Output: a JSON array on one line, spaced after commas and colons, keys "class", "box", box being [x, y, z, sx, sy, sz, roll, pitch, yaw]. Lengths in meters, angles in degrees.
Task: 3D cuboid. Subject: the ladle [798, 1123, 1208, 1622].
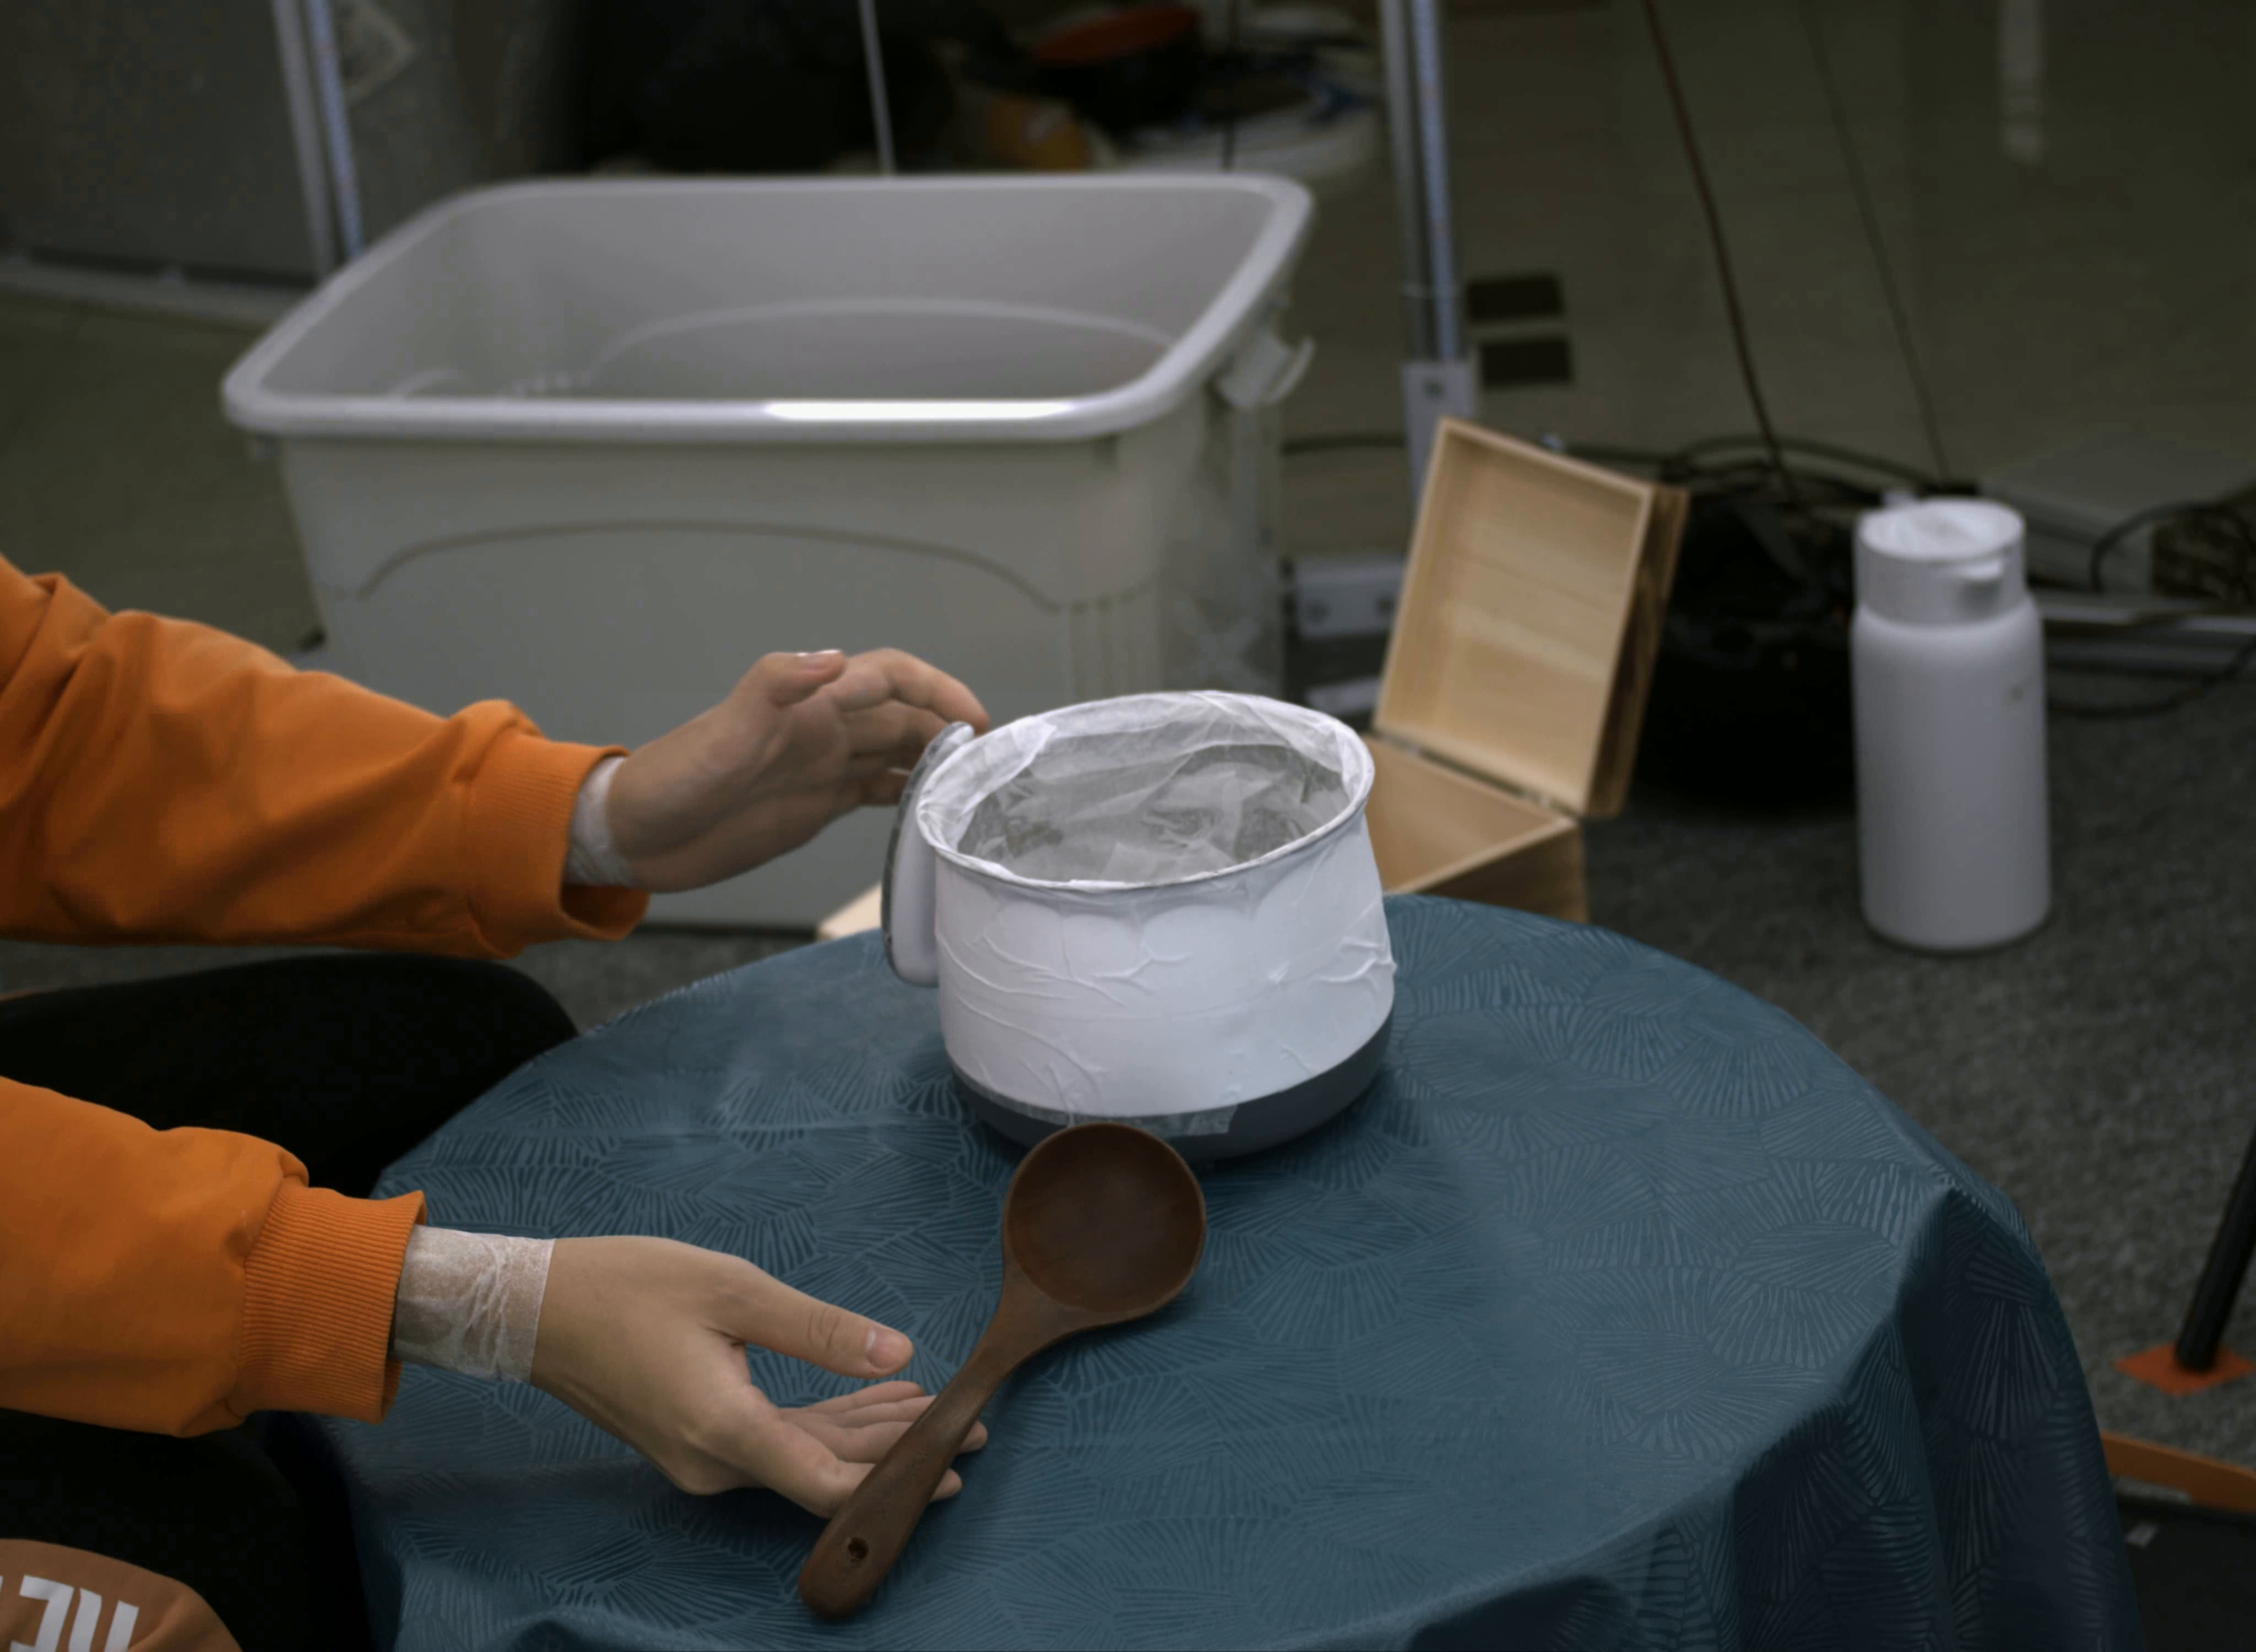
[{"class": "ladle", "box": [-0.046, 0.187, 1.983, 0.076, 0.066, 0.257, 30, 34, 8]}]

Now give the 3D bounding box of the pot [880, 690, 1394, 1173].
[{"class": "pot", "box": [-0.009, 0.036, 2.204, 0.232, 0.139, 0.177, 16, 33, 38]}]
